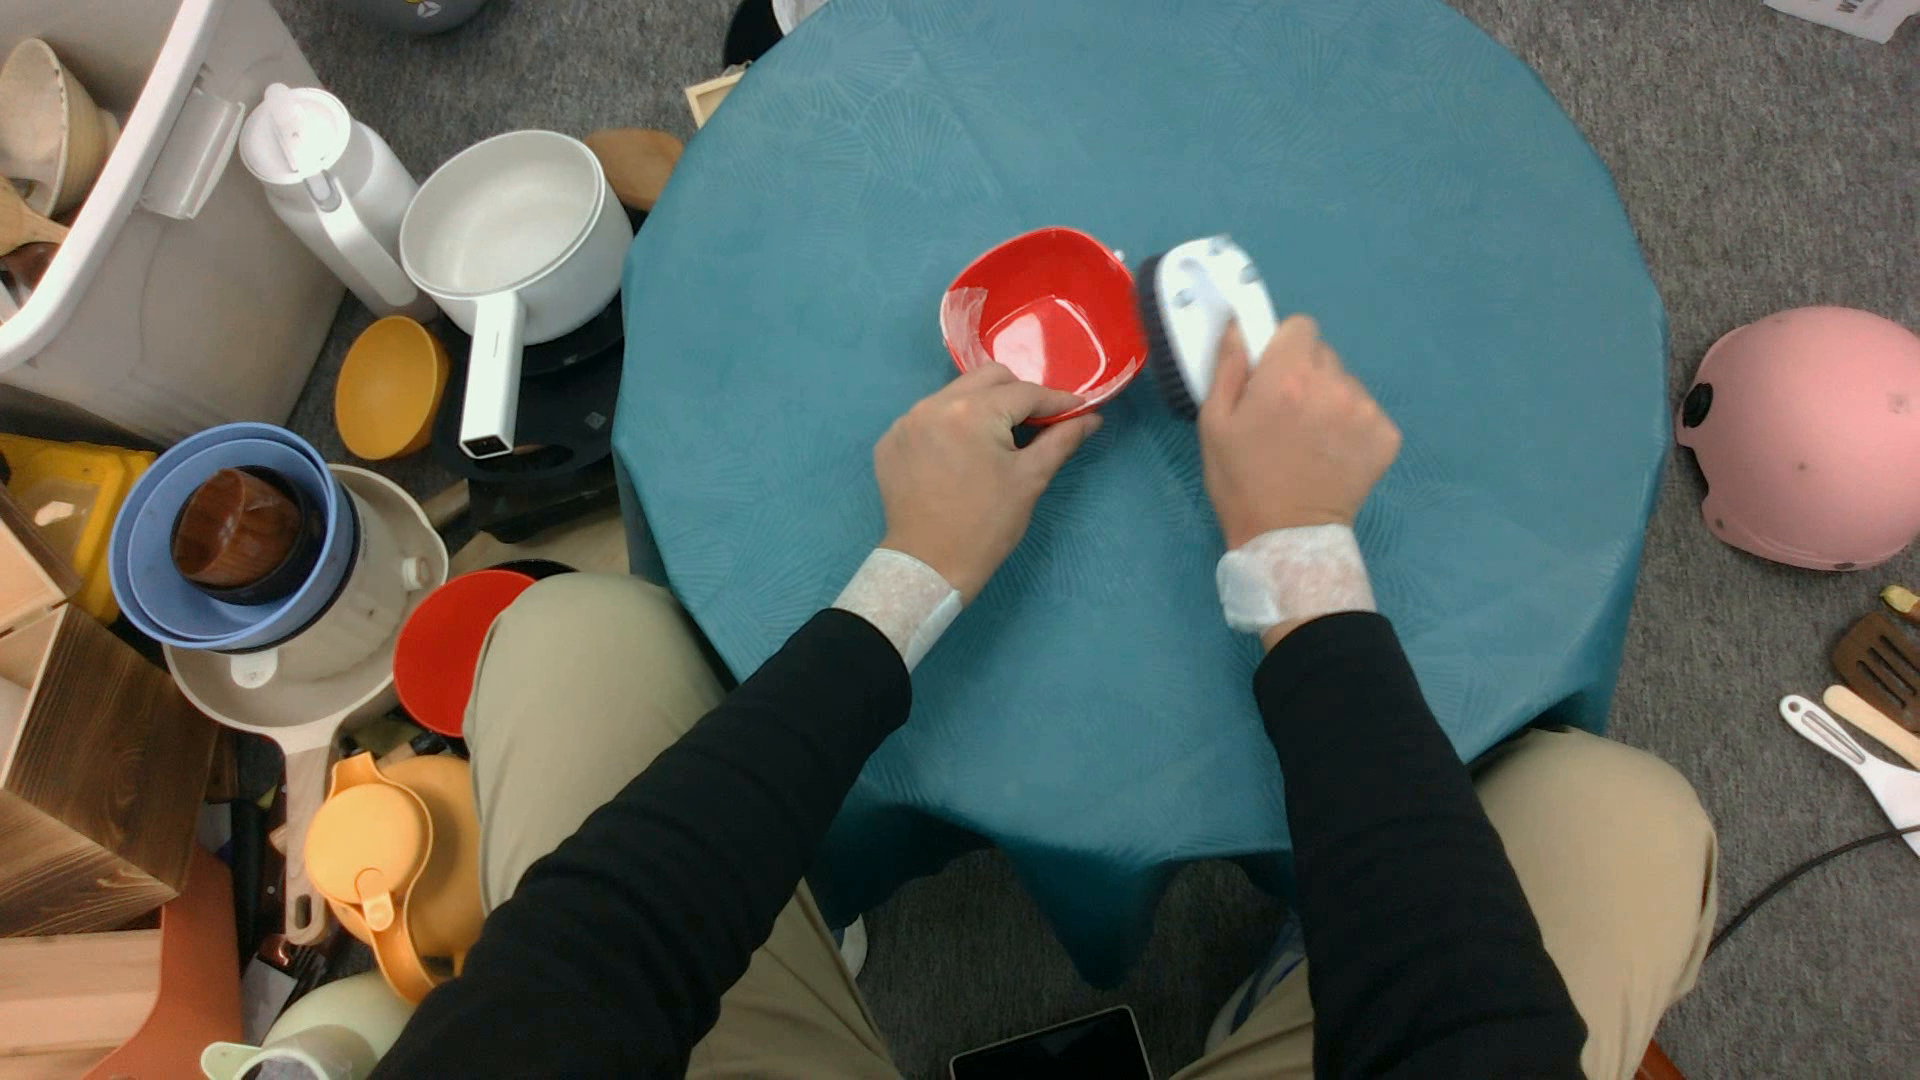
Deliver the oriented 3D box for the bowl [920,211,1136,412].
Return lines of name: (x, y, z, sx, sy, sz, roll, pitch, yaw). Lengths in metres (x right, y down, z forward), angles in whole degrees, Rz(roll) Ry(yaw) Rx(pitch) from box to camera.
bowl: (0.038, -0.120, 0.773, 0.119, 0.051, 0.119, 0, 72, 1)

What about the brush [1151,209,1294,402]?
brush: (0.142, -0.122, 0.713, 0.050, 0.072, 0.099, -11, 97, -27)
